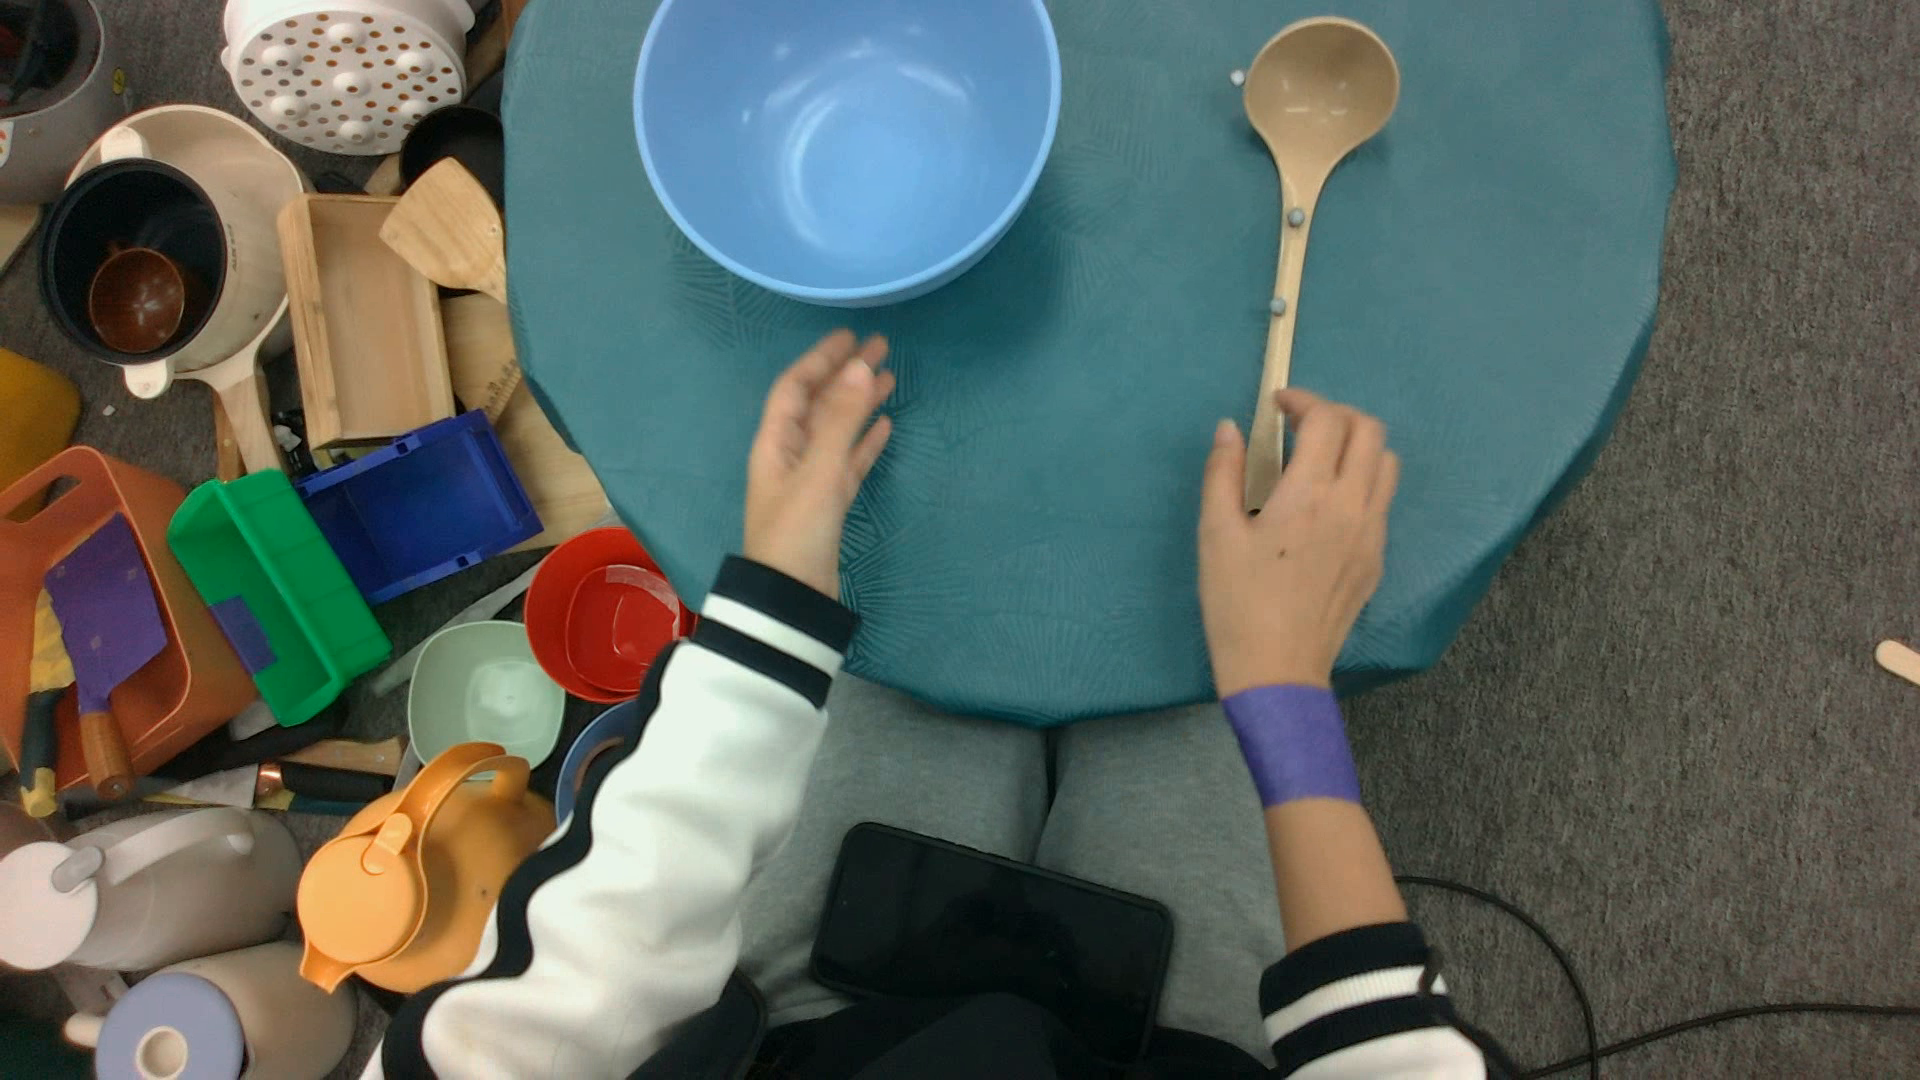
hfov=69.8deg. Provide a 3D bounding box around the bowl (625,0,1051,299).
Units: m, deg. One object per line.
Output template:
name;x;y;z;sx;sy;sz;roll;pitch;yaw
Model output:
bowl;-0.054;-0.202;0.676;0.196;0.095;0.197;0;81;3

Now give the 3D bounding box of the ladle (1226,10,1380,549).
ladle;0.154;-0.126;0.655;0.072;0.073;0.255;6;81;6
